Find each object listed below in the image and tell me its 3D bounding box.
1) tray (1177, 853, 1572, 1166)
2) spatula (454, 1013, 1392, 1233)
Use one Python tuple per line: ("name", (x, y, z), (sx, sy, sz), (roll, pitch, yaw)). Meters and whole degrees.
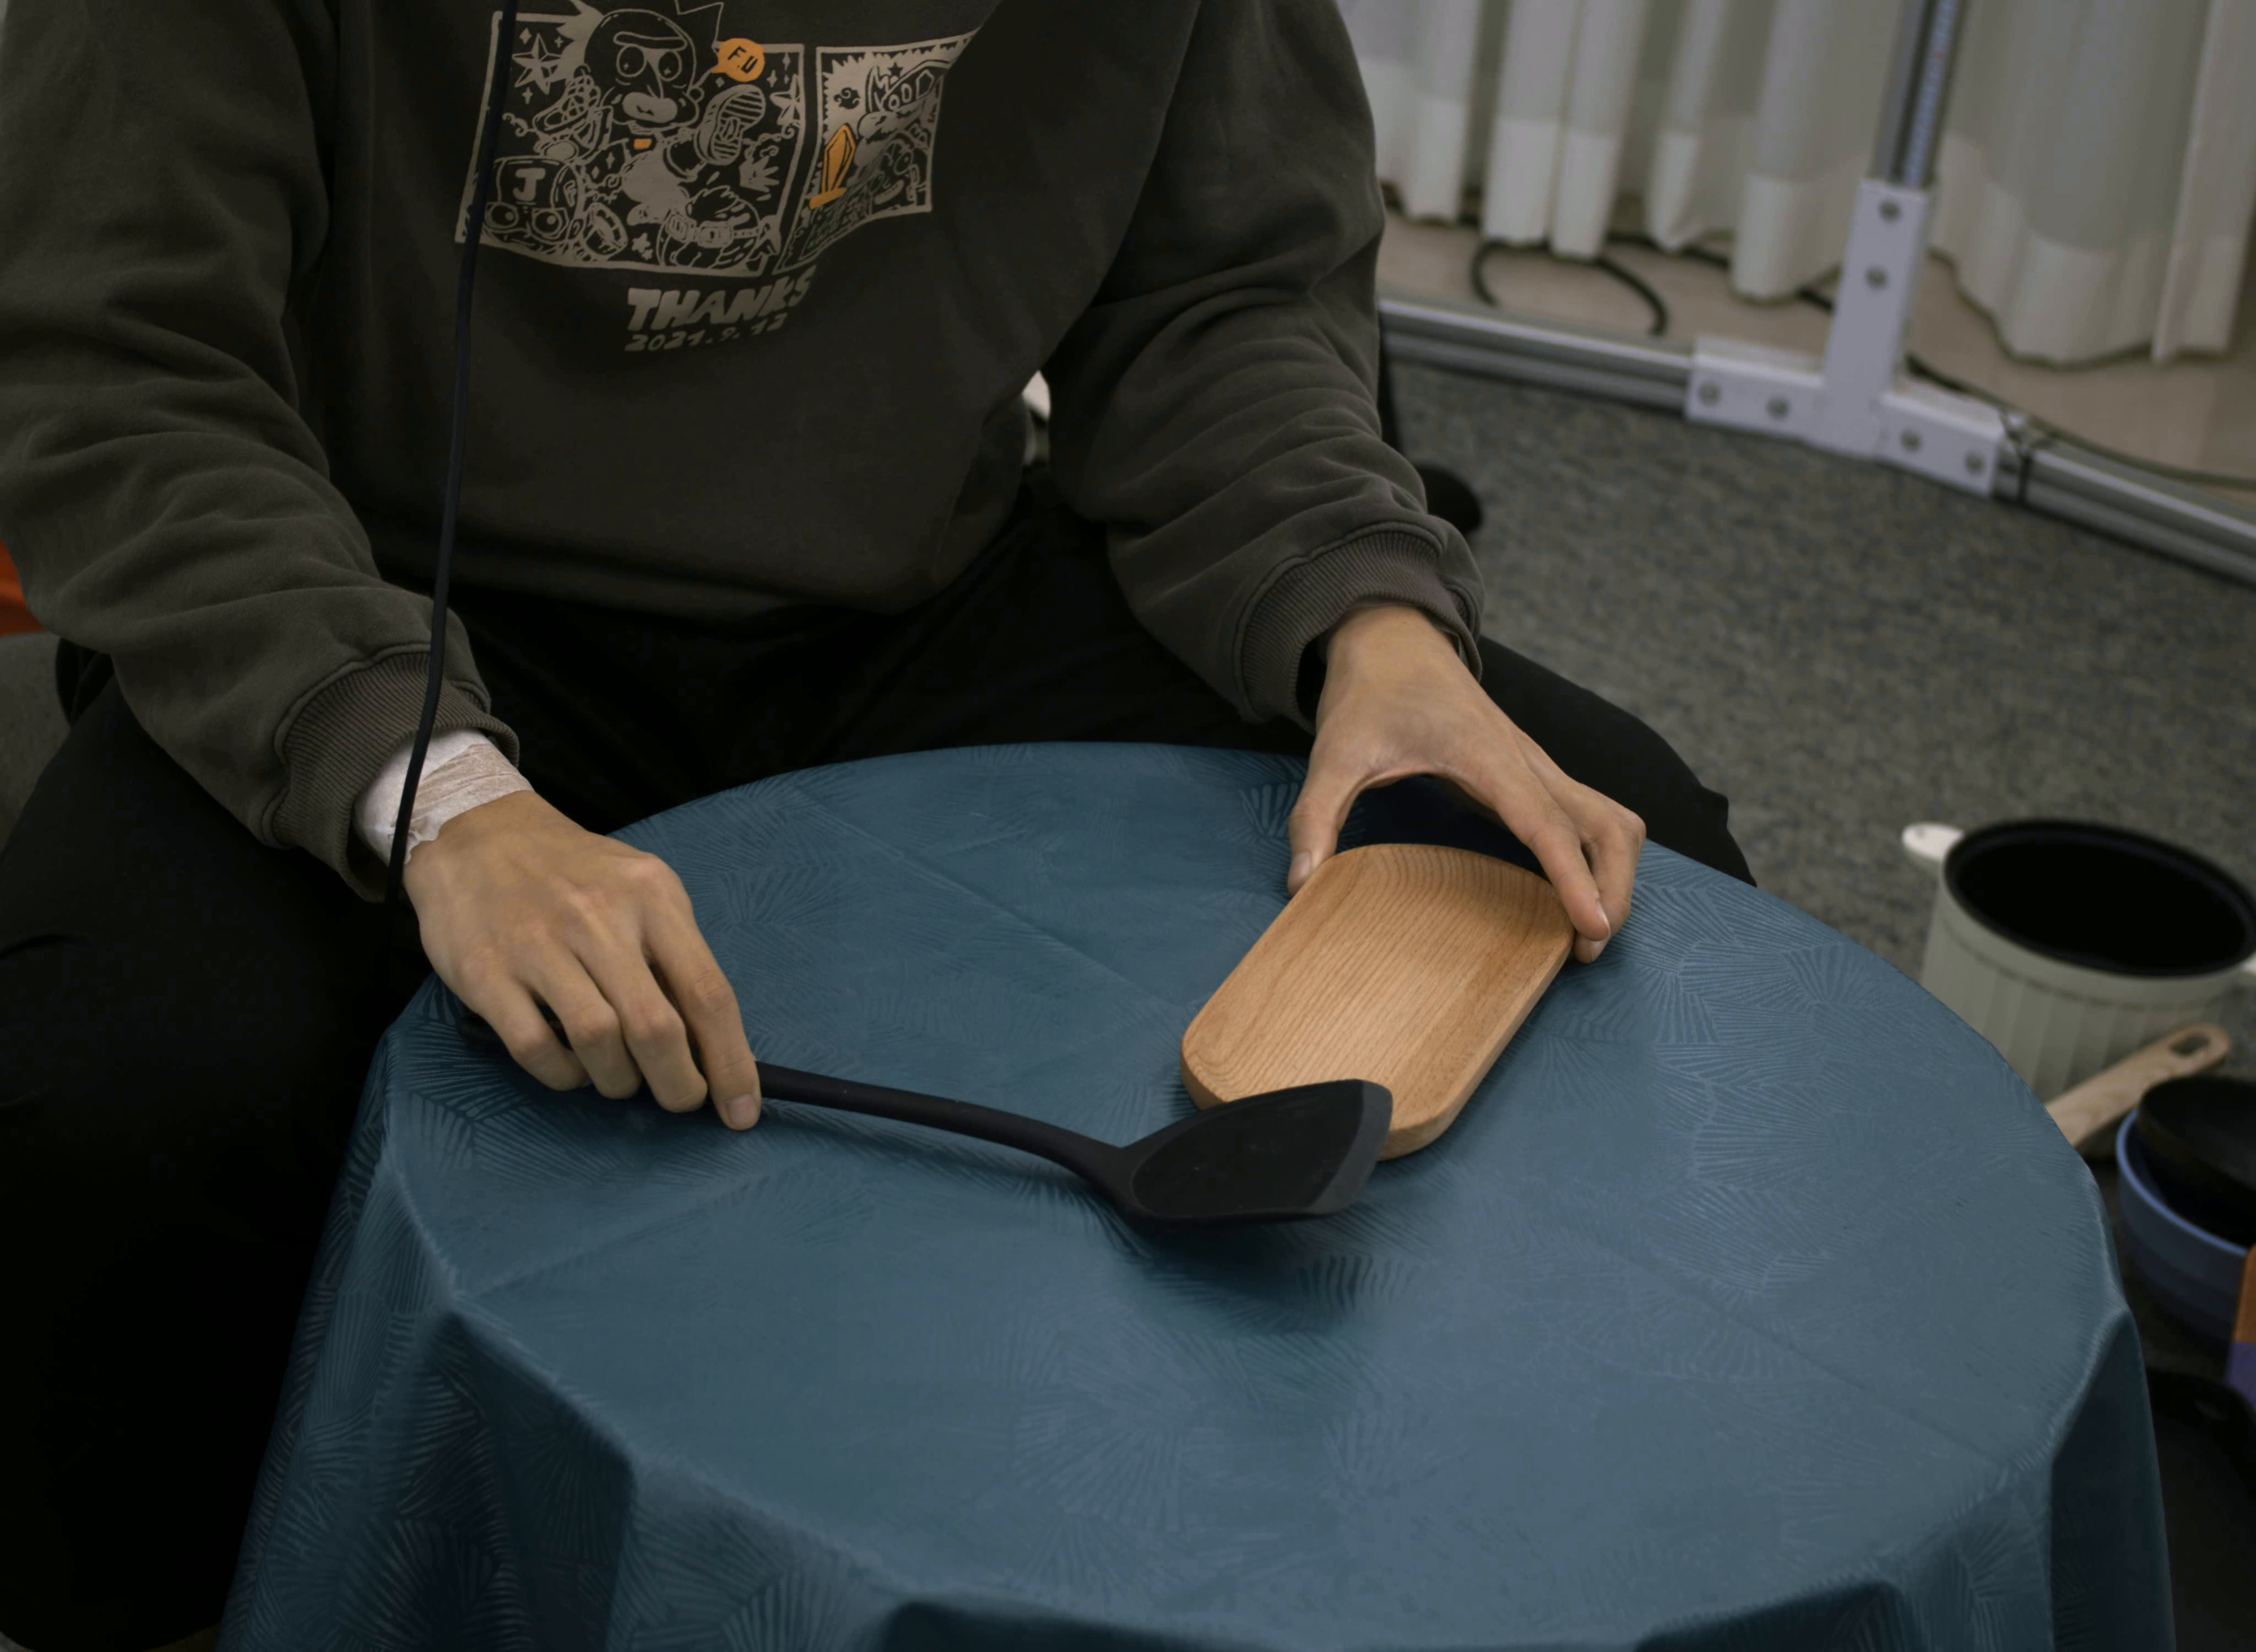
("tray", (0.091, 0.065, 1.924), (0.102, 0.020, 0.231), (14, 29, 17))
("spatula", (-0.074, 0.091, 1.810), (0.326, 0.040, 0.100), (13, 24, 10))
